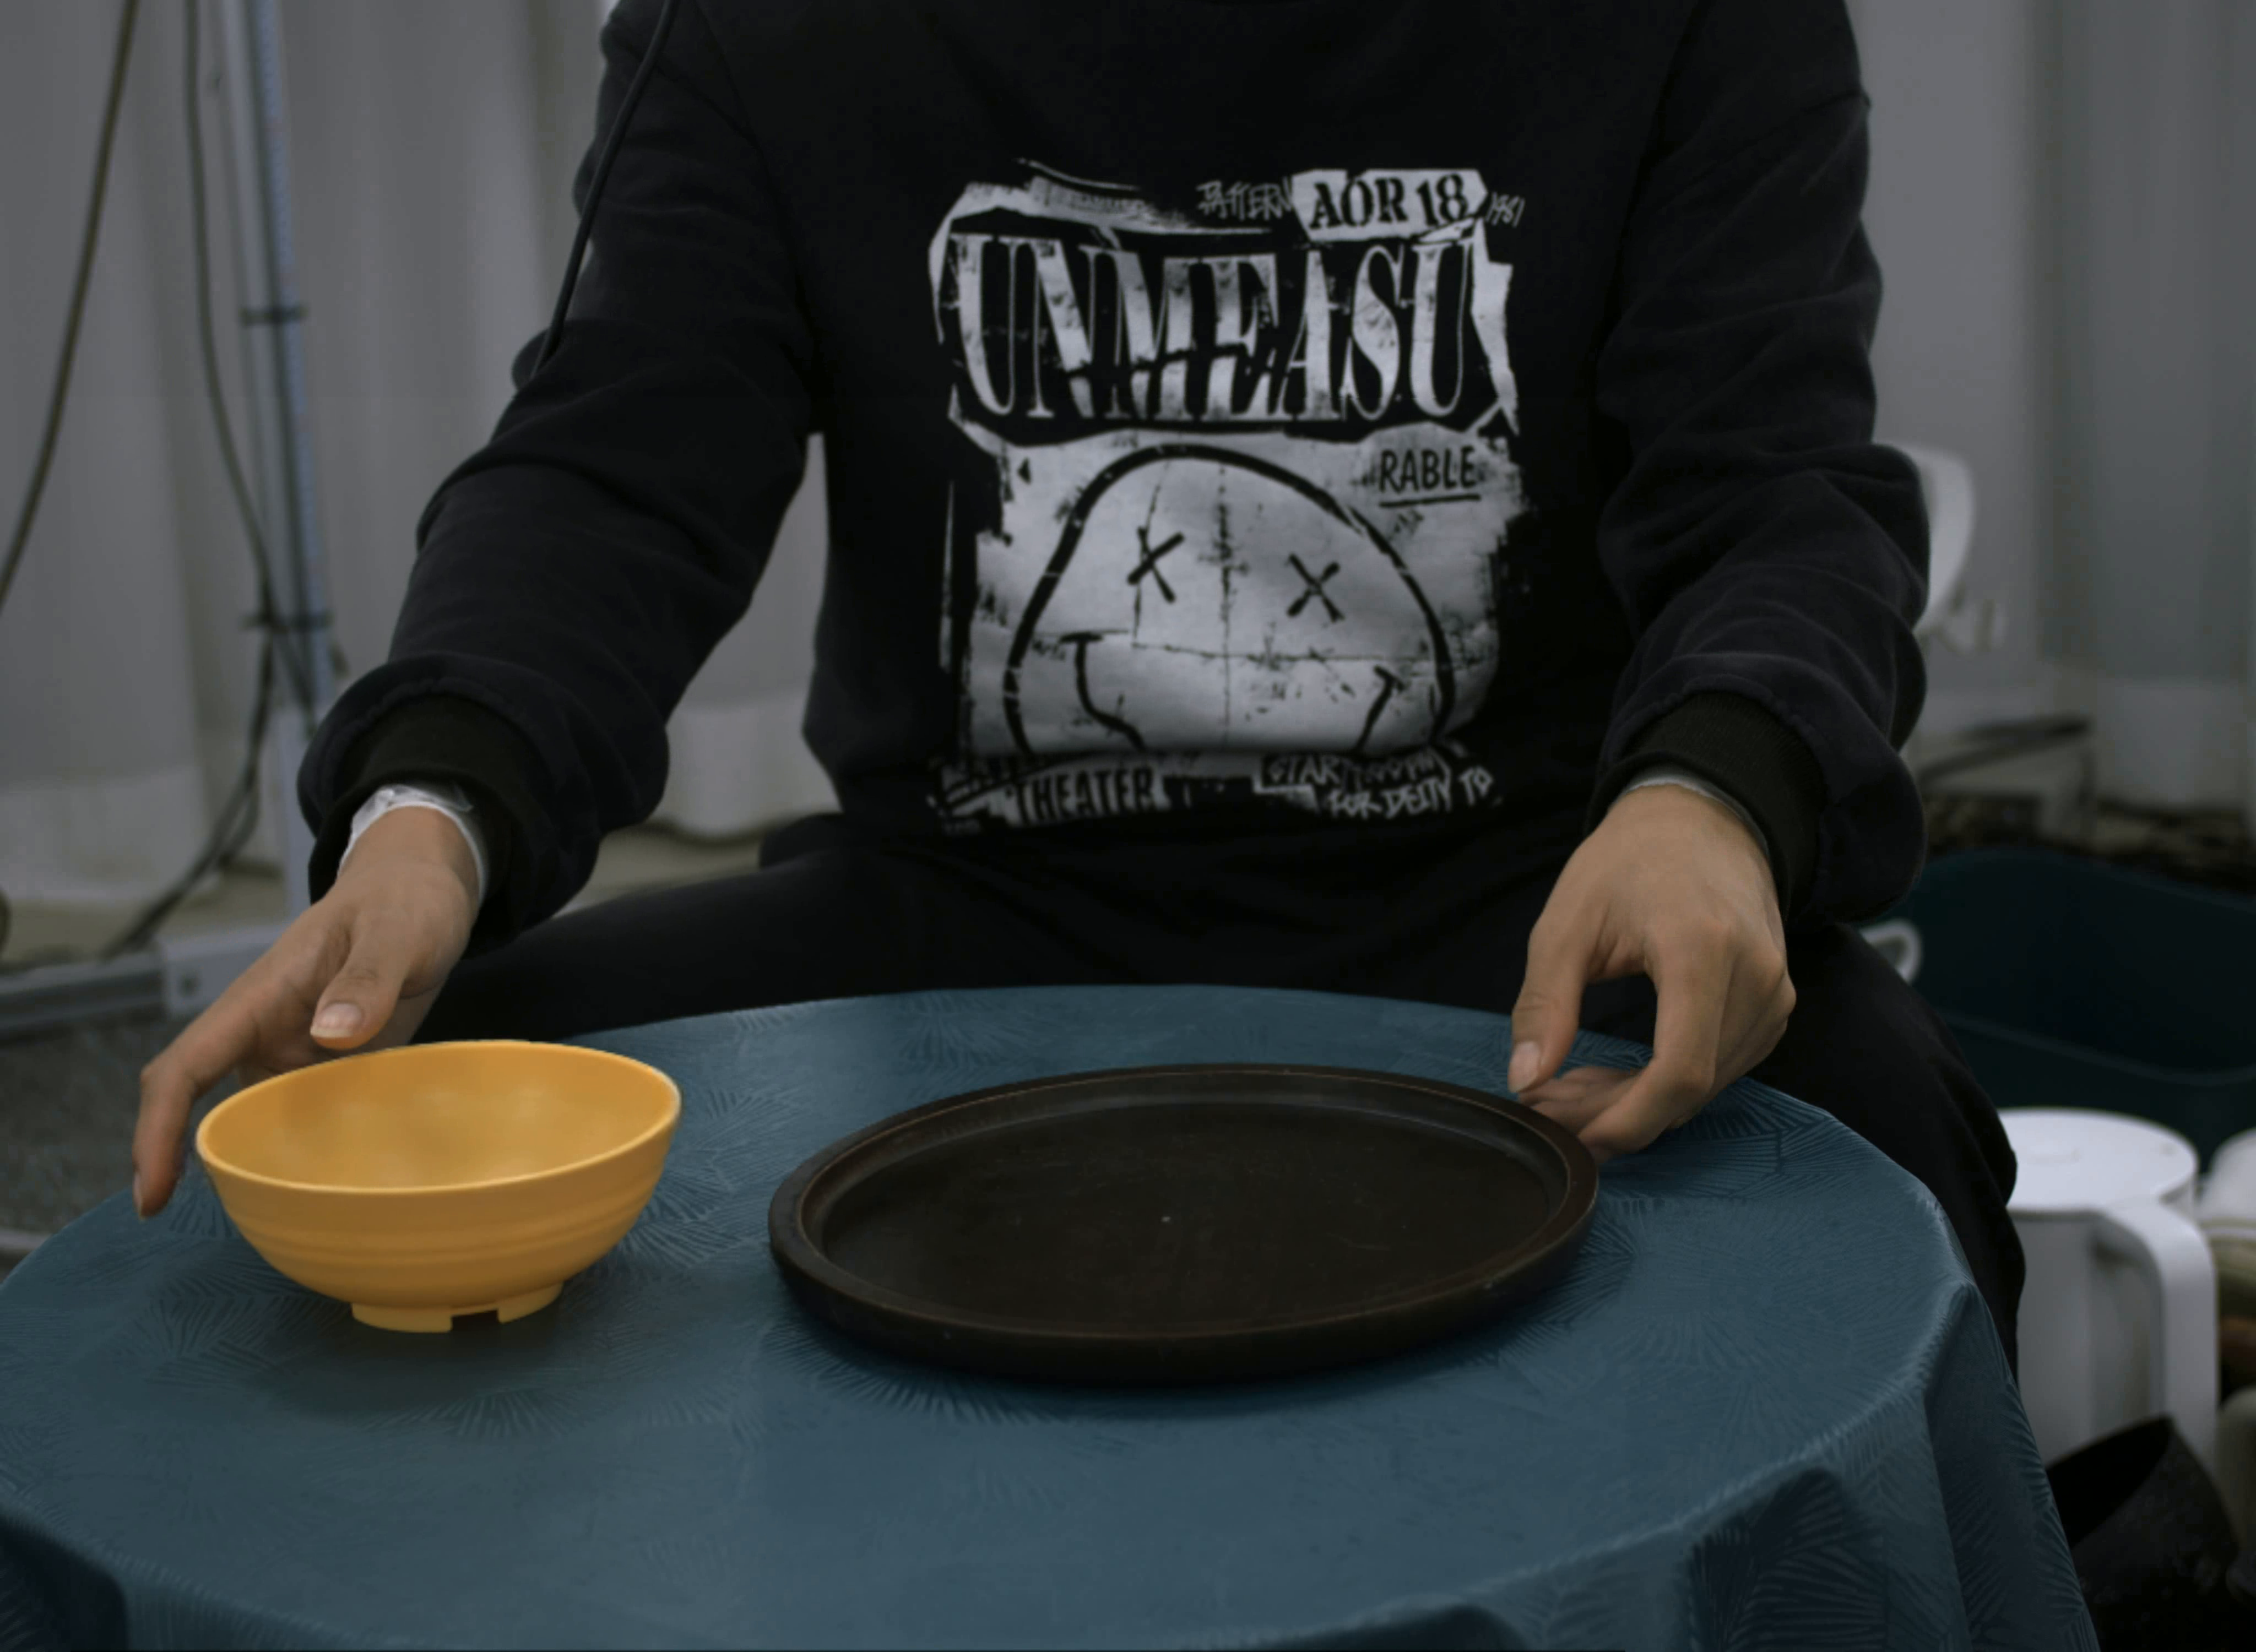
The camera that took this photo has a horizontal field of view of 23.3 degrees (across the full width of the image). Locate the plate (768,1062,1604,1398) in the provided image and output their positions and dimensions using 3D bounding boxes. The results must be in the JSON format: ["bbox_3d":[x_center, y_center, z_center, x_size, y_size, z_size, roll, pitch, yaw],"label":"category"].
[{"bbox_3d":[0.018,0.120,1.650,0.254,0.029,0.256,-4,14,1],"label":"plate"}]

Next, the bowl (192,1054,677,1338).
[{"bbox_3d":[-0.207,0.116,1.644,0.145,0.060,0.146,-1,13,0],"label":"bowl"}]
